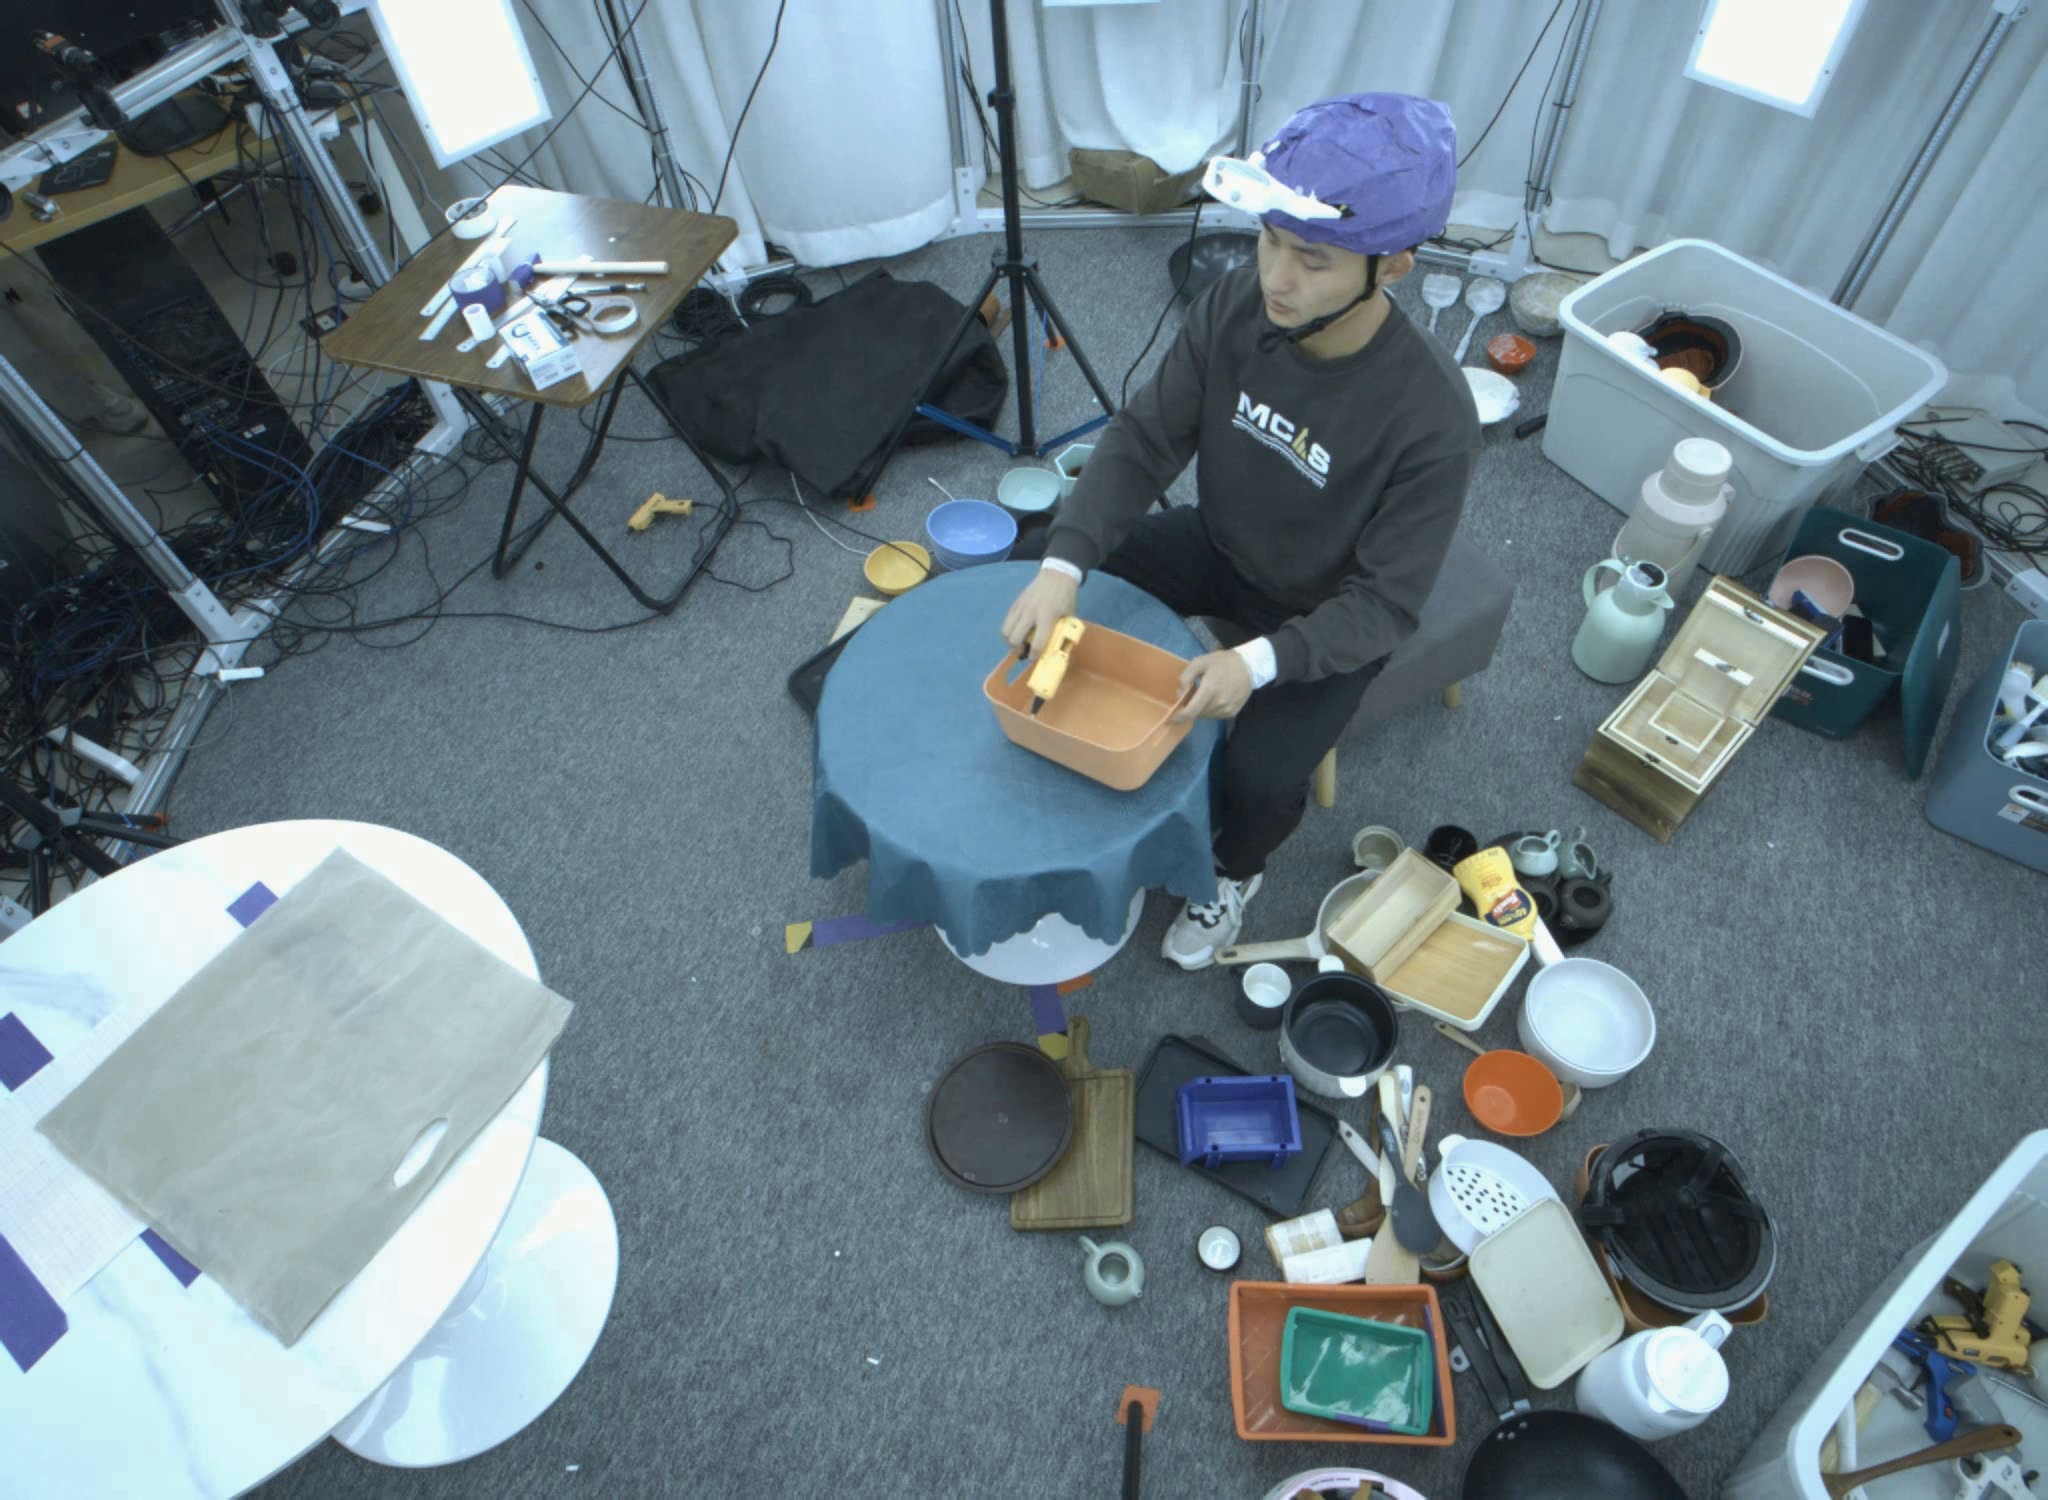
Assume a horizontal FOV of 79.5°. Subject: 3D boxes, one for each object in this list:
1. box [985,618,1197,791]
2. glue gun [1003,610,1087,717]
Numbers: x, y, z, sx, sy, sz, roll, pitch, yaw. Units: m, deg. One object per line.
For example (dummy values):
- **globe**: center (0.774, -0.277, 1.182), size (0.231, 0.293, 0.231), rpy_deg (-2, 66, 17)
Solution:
- **box**: center (0.101, -0.065, 1.745), size (0.267, 0.104, 0.200), rpy_deg (24, 57, 31)
- **glue gun**: center (0.008, -0.121, 1.716), size (0.130, 0.032, 0.151), rpy_deg (13, 77, 37)
